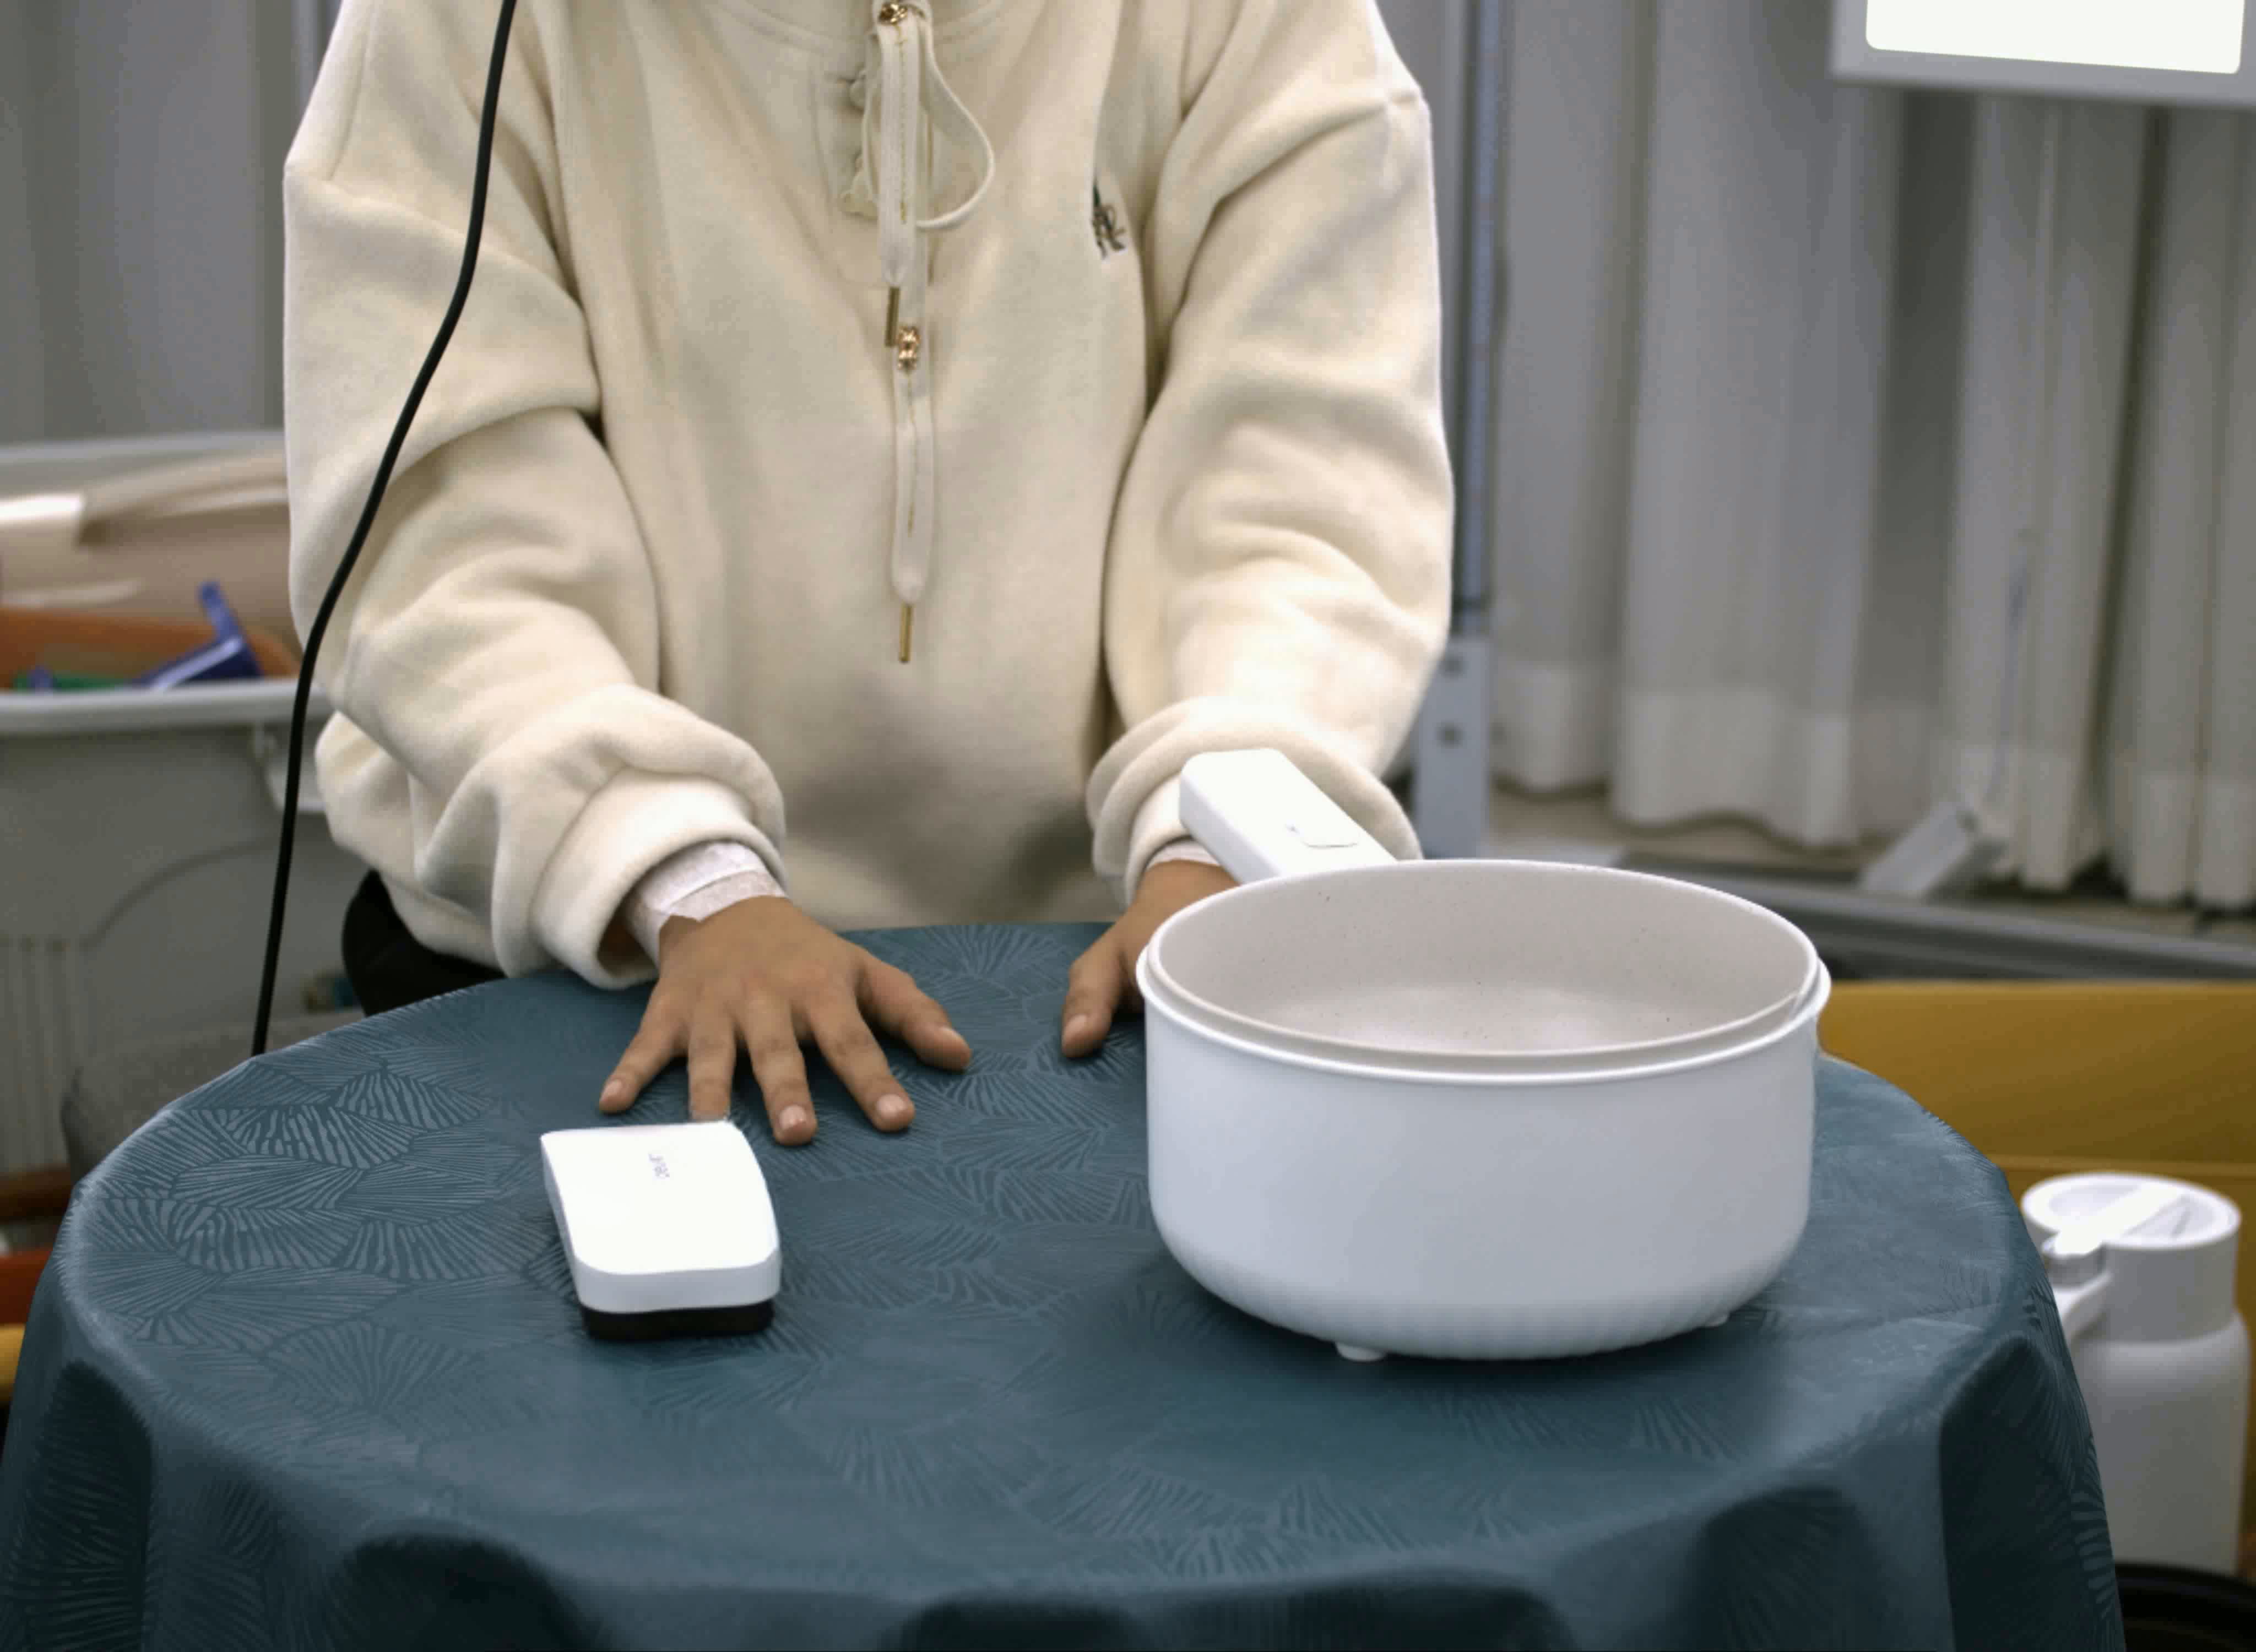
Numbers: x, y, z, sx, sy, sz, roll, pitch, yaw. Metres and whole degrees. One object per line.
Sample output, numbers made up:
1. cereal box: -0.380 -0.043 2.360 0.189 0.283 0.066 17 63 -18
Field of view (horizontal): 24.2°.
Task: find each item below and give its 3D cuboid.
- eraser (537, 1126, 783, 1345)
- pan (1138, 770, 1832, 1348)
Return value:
1. eraser: -0.138 0.116 1.548 0.063 0.035 0.130 0 16 -12
2. pan: 0.082 0.066 1.606 0.201 0.103 0.351 -3 13 -16
